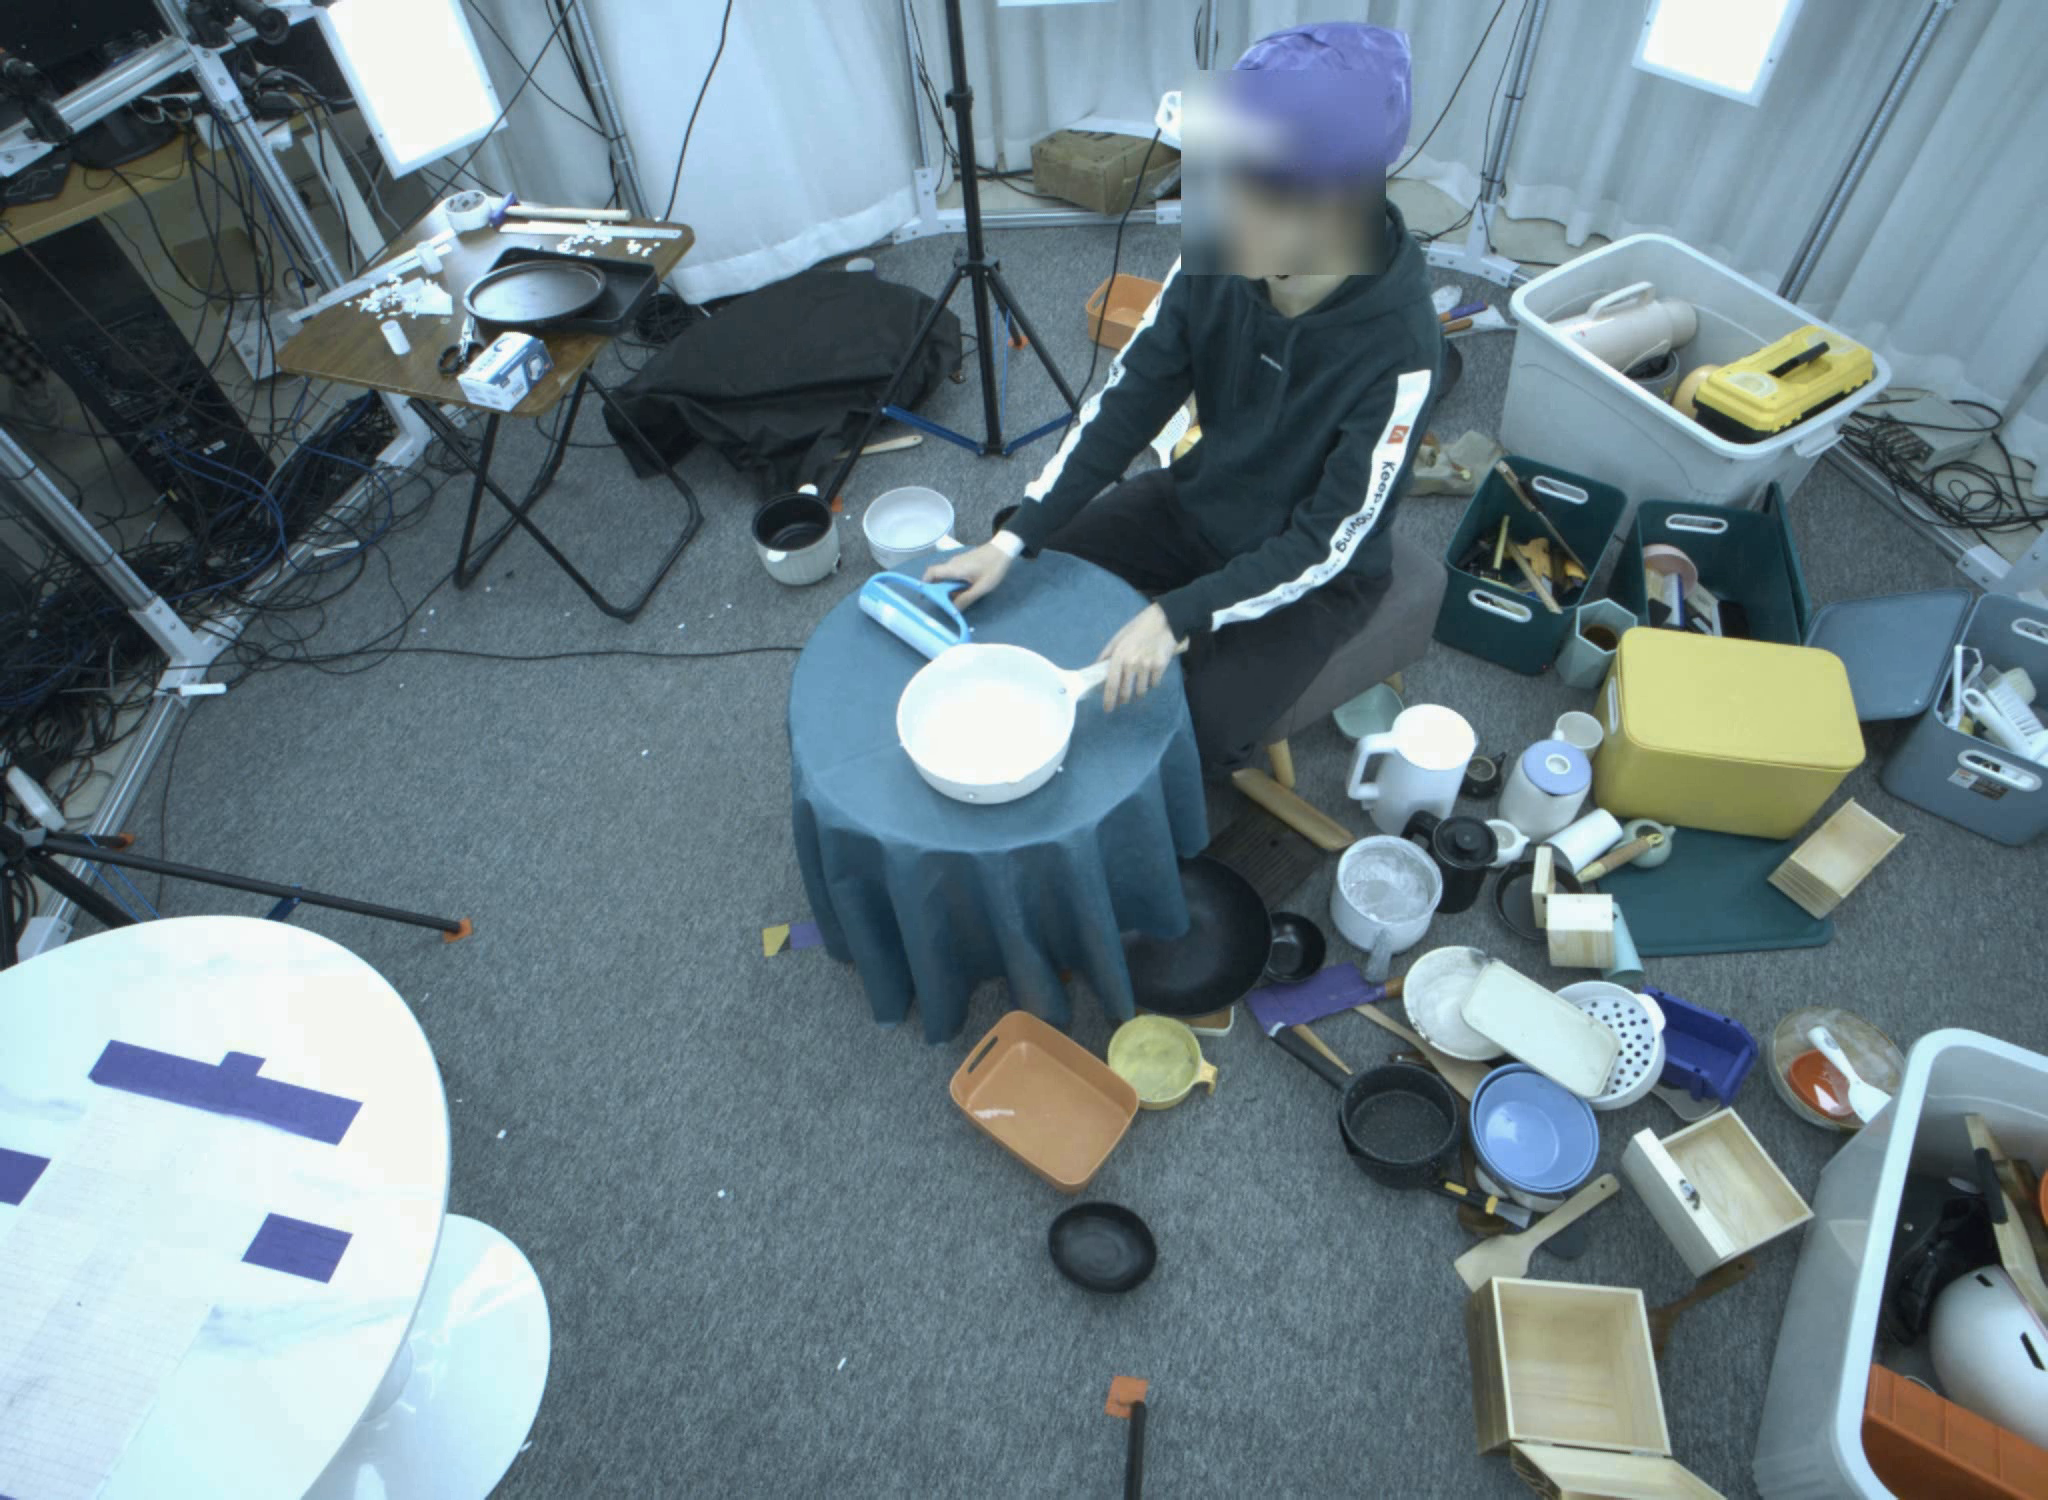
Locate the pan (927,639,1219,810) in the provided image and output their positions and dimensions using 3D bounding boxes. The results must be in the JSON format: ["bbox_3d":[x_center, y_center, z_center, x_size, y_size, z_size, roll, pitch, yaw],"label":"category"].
[{"bbox_3d":[0.077,-0.056,1.758,0.438,0.103,0.258,-18,55,-10],"label":"pan"}]

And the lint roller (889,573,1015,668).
[{"bbox_3d":[-0.086,-0.228,1.913,0.225,0.069,0.181,35,64,25],"label":"lint roller"}]
